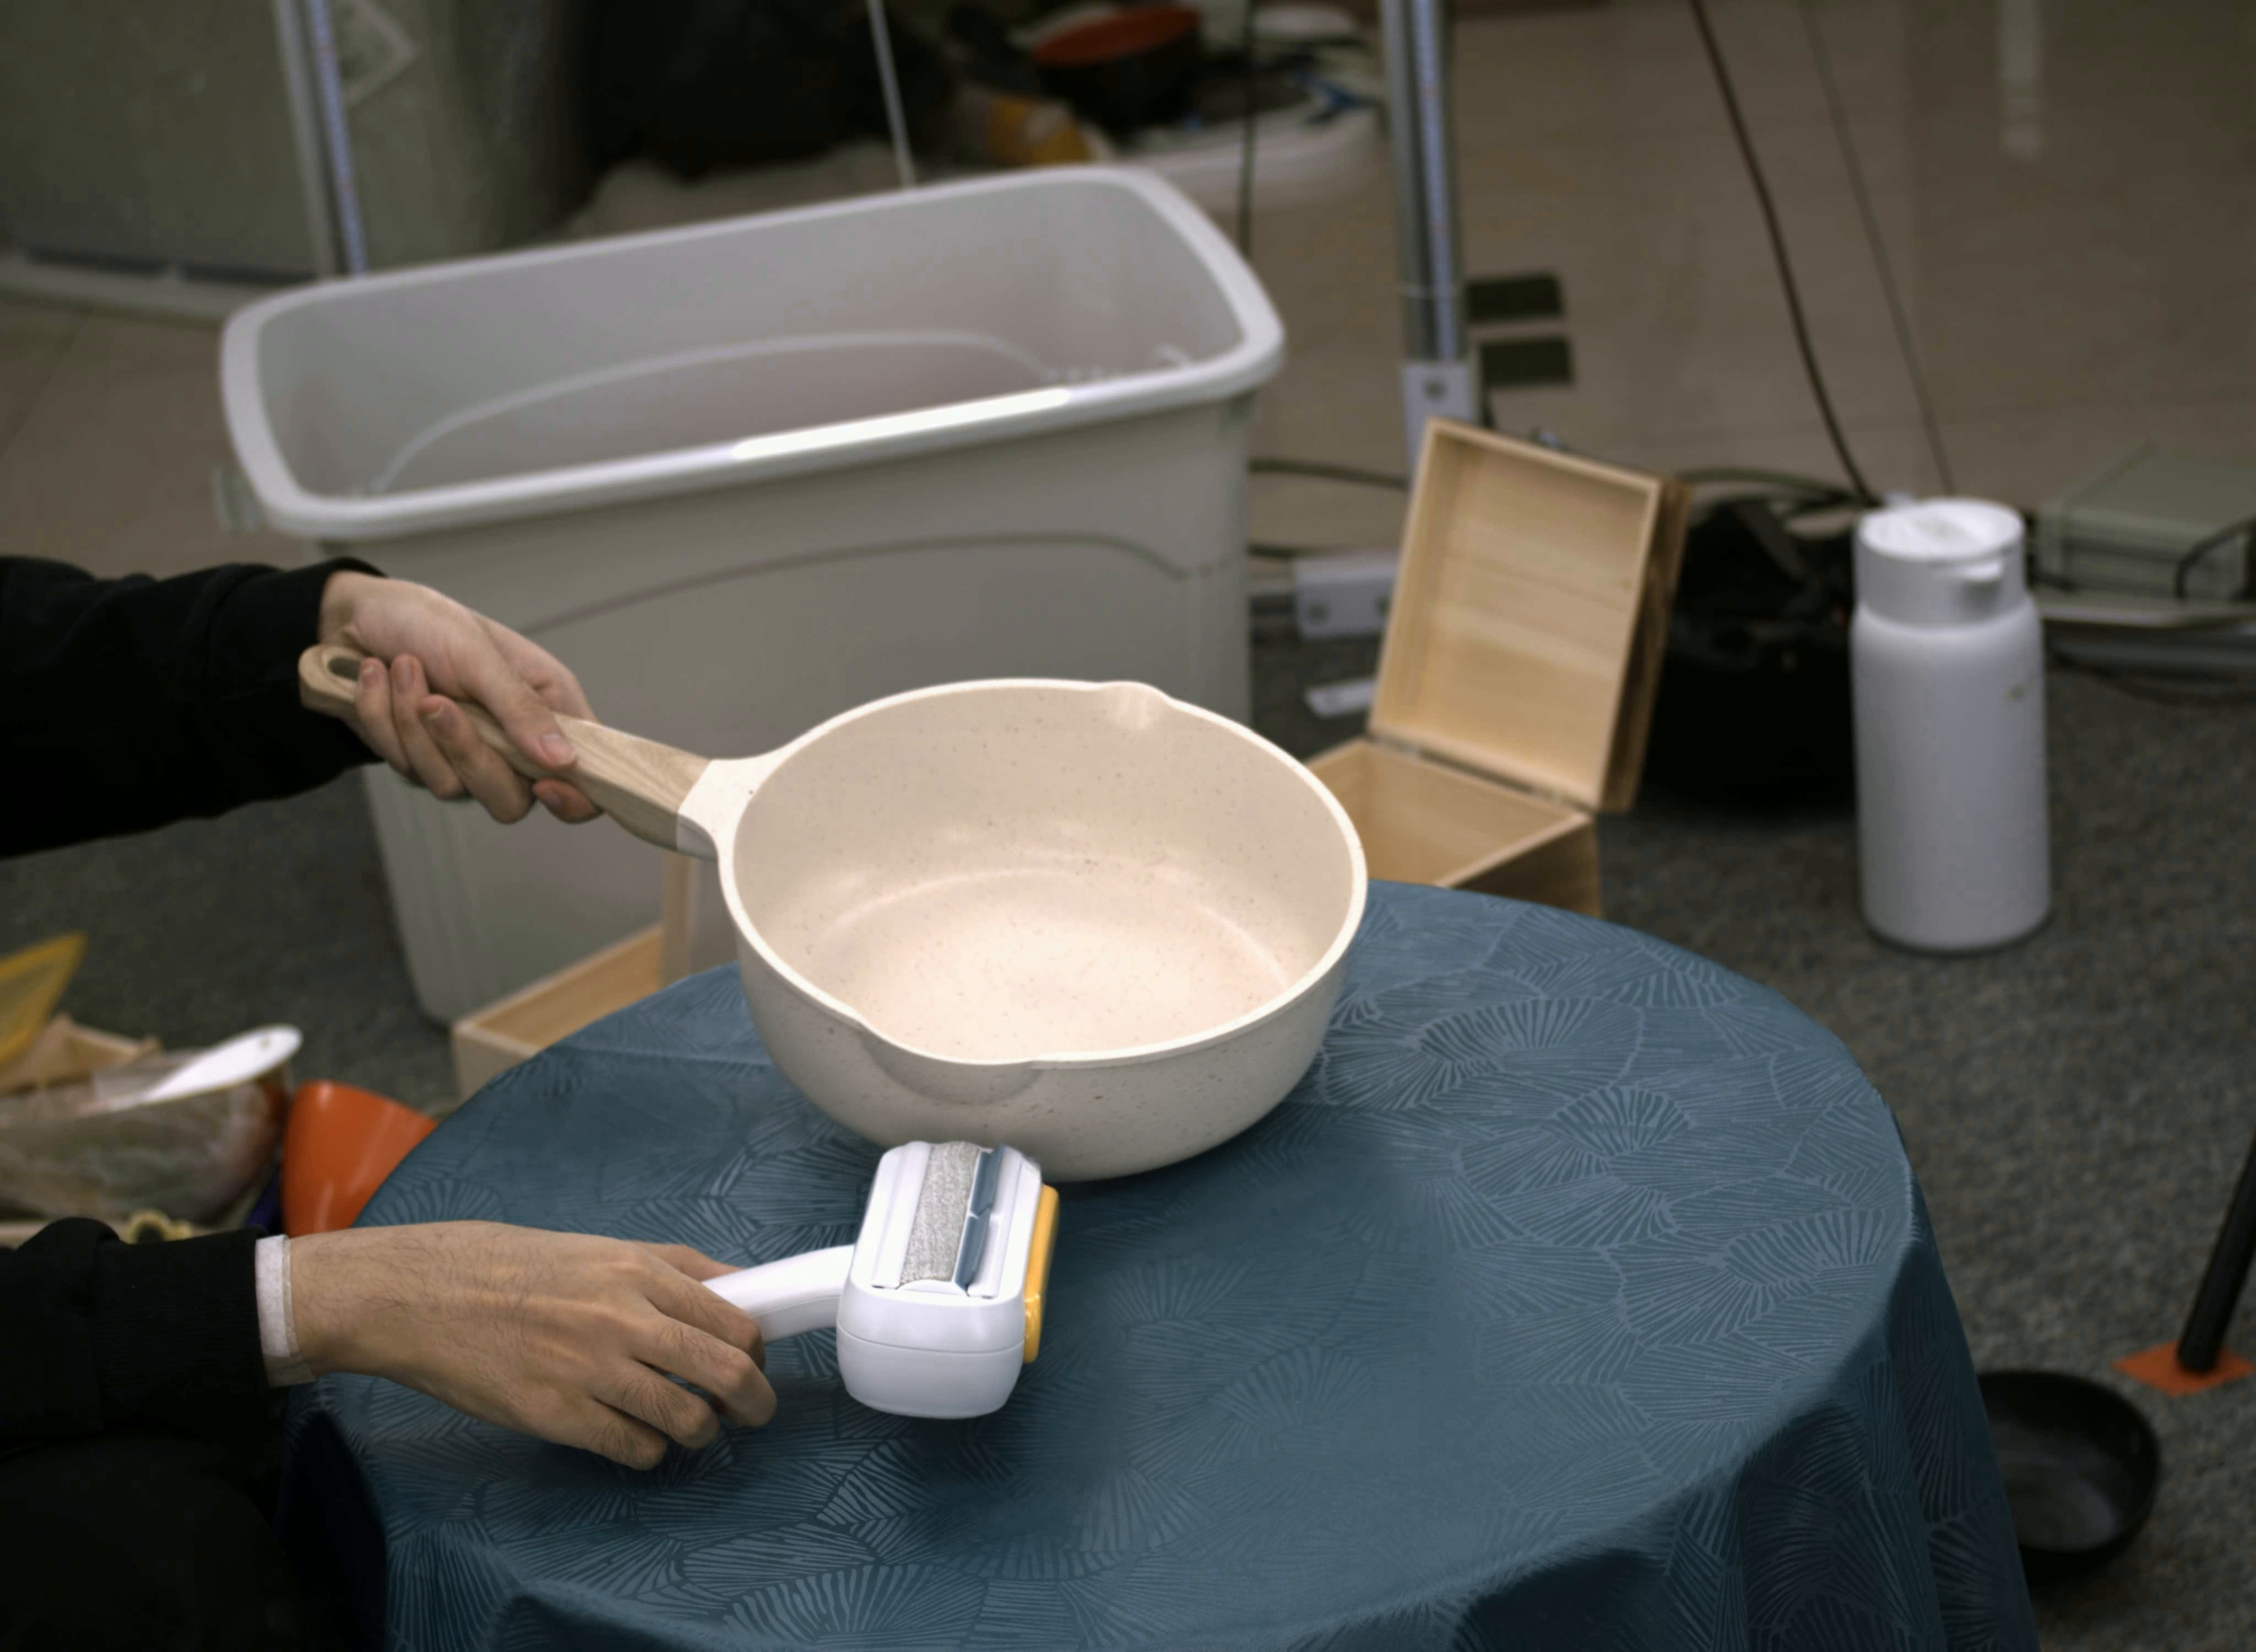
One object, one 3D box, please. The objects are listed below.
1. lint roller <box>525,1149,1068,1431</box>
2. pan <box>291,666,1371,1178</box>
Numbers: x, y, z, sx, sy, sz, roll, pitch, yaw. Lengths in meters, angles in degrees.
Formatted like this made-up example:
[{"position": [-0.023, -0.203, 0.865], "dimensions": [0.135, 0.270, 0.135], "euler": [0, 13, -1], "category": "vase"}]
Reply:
[{"position": [-0.123, 0.172, 2.019], "dimensions": [0.192, 0.075, 0.190], "euler": [-4, 17, 7], "category": "lint roller"}, {"position": [-0.121, 0.019, 2.222], "dimensions": [0.433, 0.104, 0.259], "euler": [11, 39, 11], "category": "pan"}]
